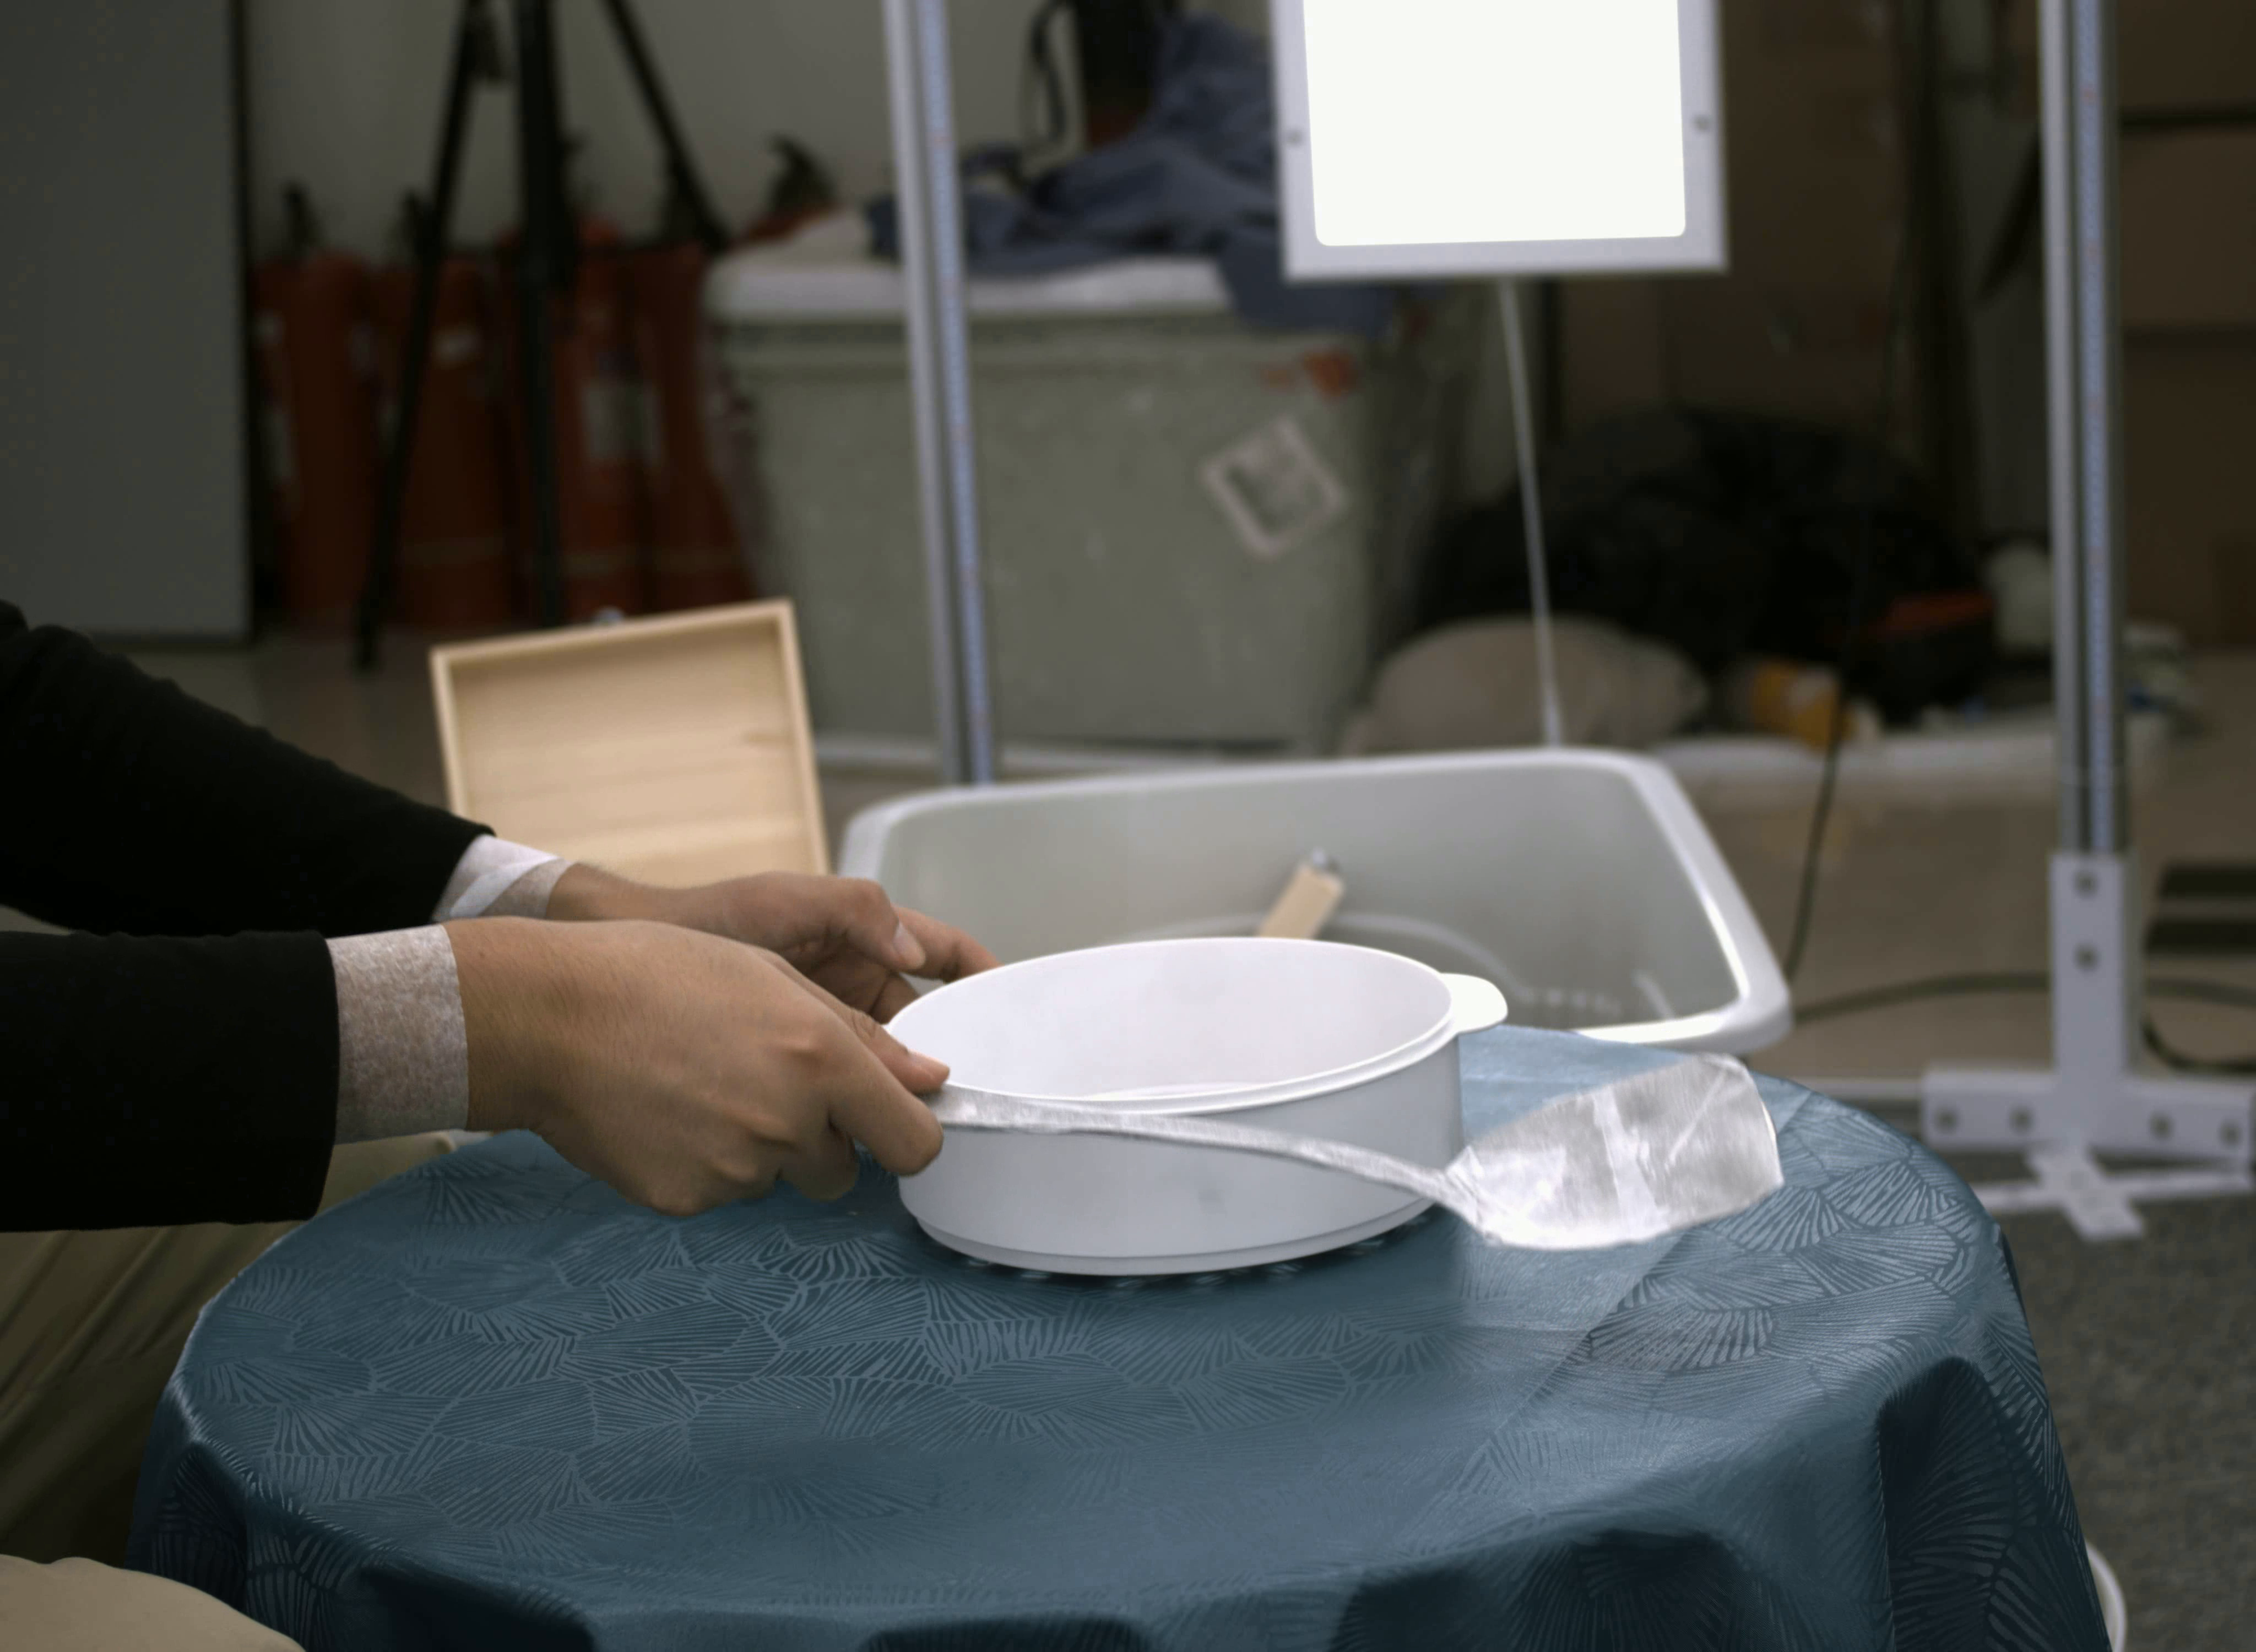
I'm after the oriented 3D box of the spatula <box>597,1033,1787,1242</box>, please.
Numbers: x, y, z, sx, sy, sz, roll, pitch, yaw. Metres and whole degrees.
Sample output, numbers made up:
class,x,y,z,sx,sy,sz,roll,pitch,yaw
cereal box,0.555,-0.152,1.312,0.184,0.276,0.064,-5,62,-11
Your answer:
class,x,y,z,sx,sy,sz,roll,pitch,yaw
spatula,0.019,0.087,1.688,0.363,0.045,0.098,6,29,-2

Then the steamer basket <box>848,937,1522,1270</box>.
class,x,y,z,sx,sy,sz,roll,pitch,yaw
steamer basket,0.022,0.094,1.874,0.230,0.069,0.202,-6,13,-1
